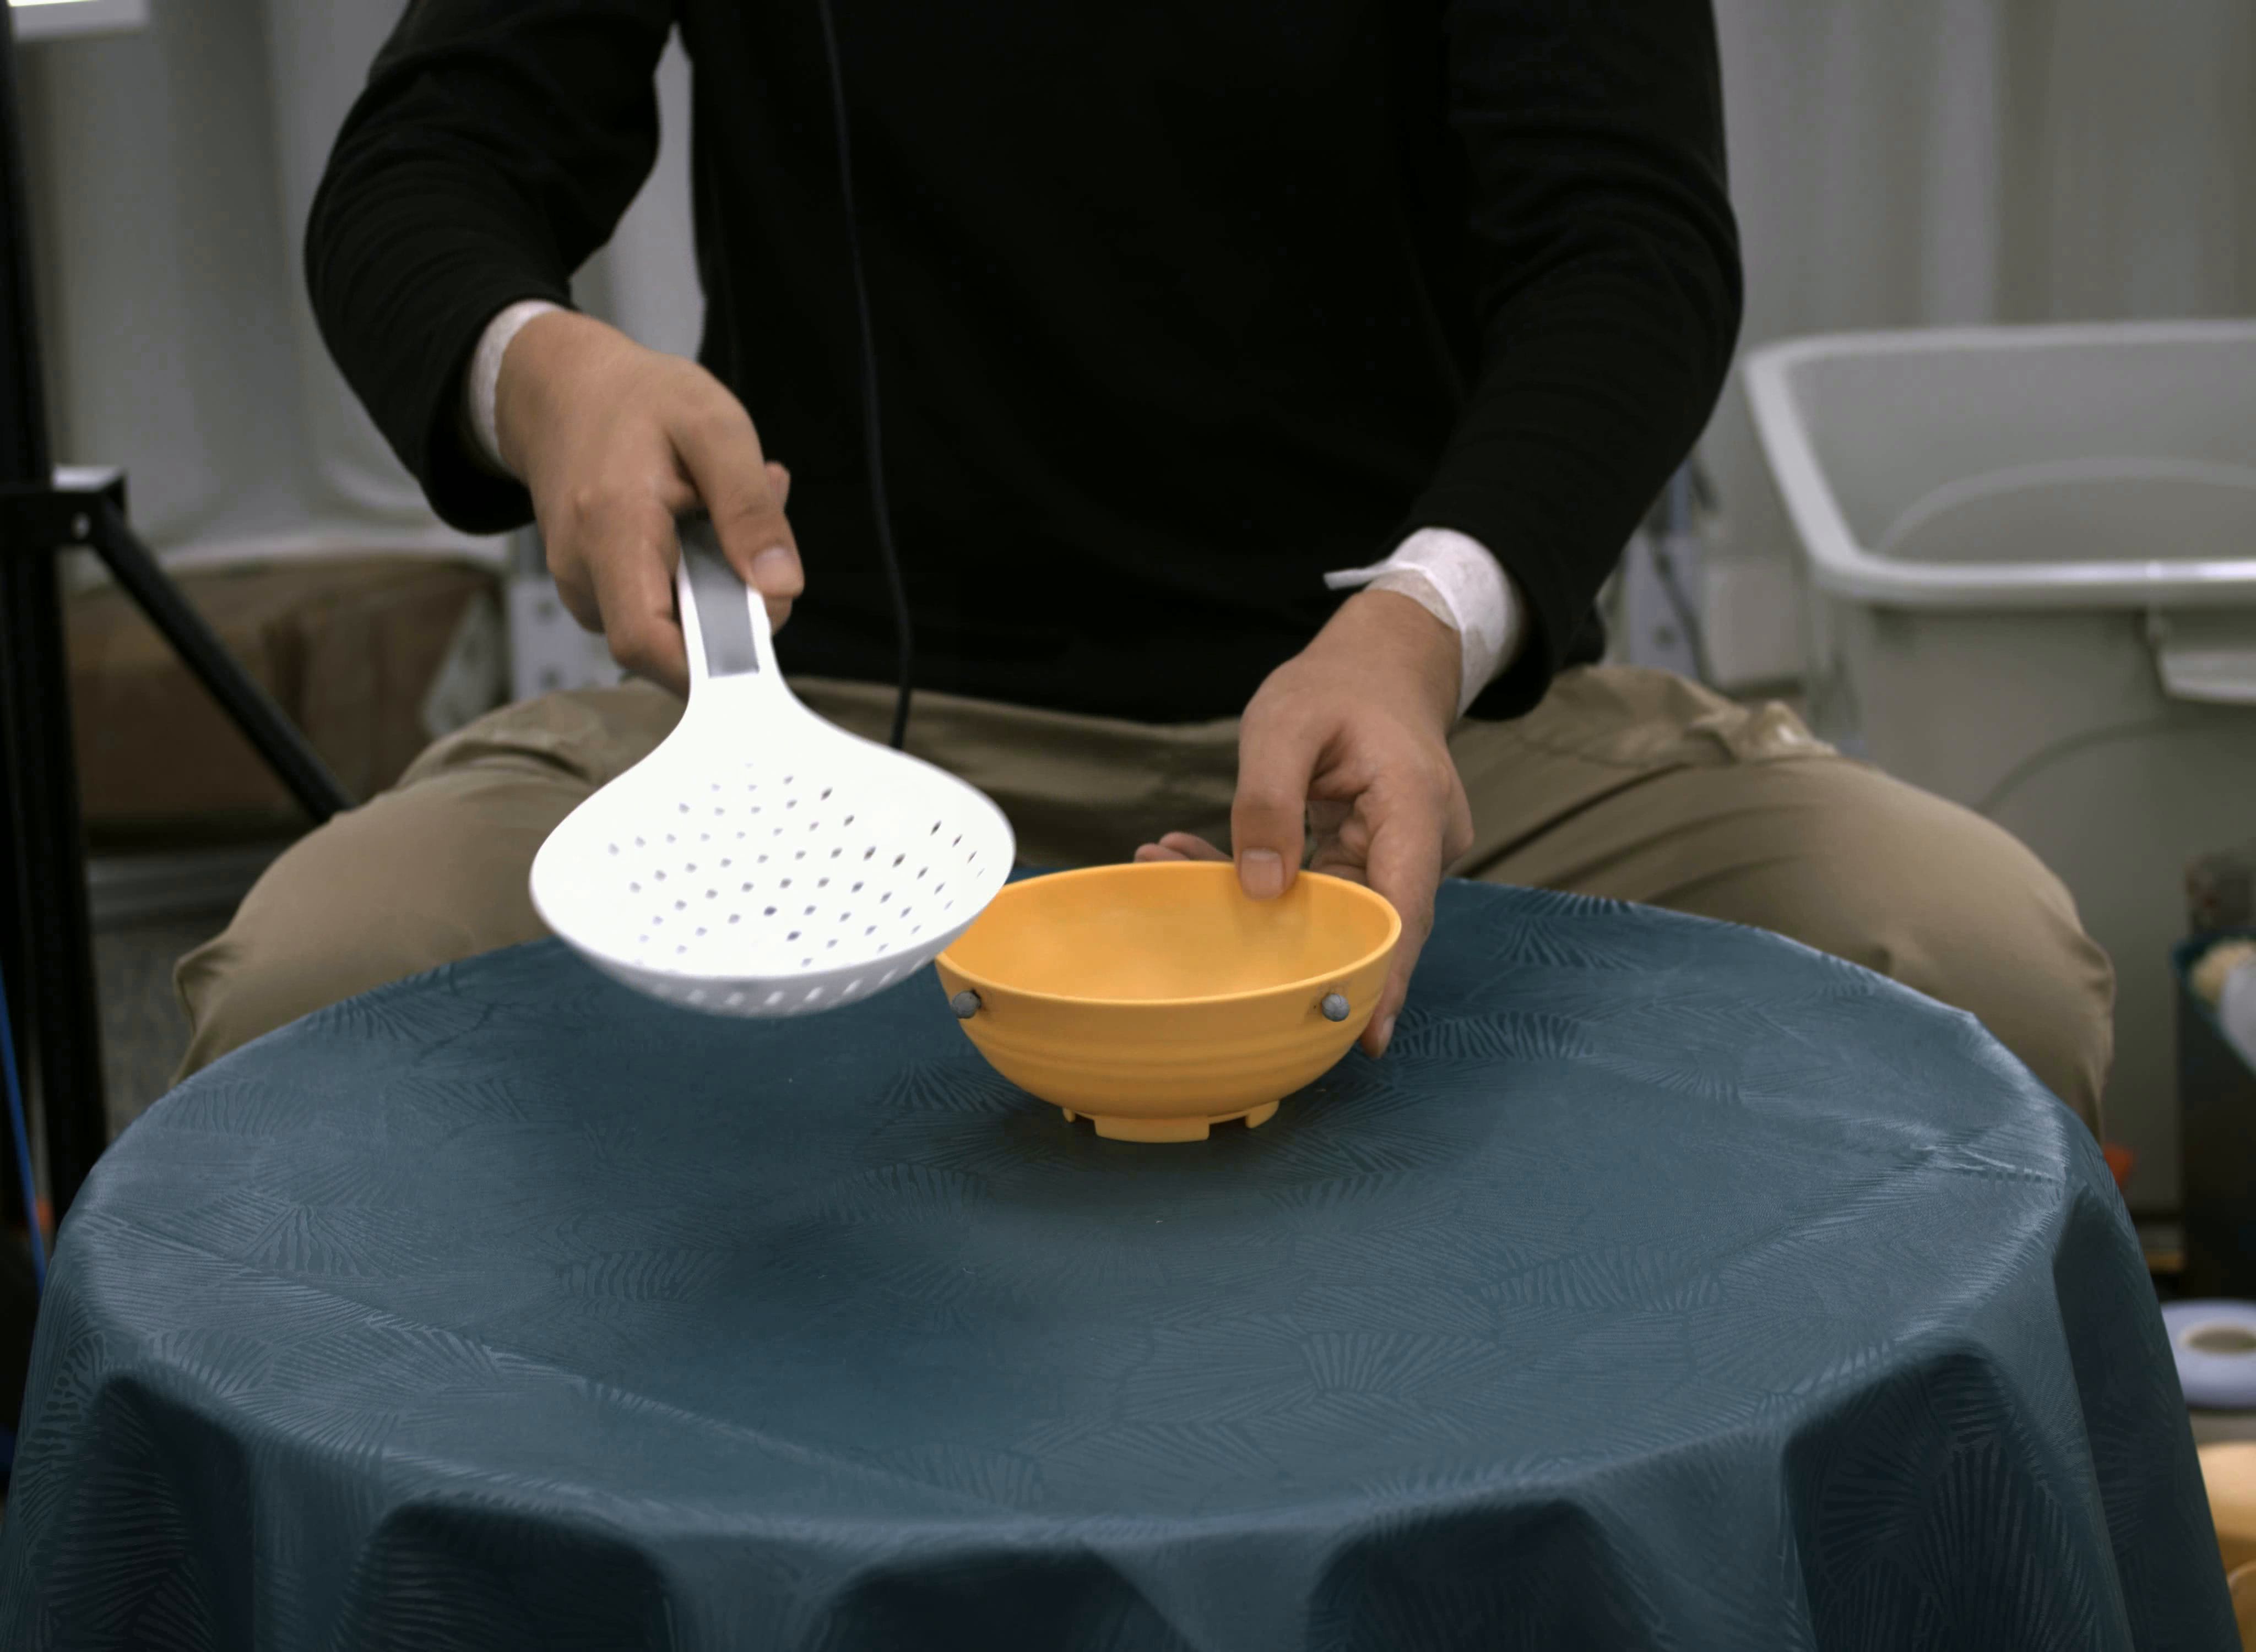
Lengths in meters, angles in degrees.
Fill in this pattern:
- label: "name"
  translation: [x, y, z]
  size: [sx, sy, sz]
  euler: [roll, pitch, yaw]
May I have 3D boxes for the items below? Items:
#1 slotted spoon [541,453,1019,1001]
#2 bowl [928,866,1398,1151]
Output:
- label: "slotted spoon"
  translation: [-0.115, -0.037, 1.606]
  size: [0.135, 0.045, 0.355]
  euler: [-7, 32, -6]
- label: "bowl"
  translation: [0.011, 0.061, 1.624]
  size: [0.144, 0.060, 0.146]
  euler: [0, 16, -1]
